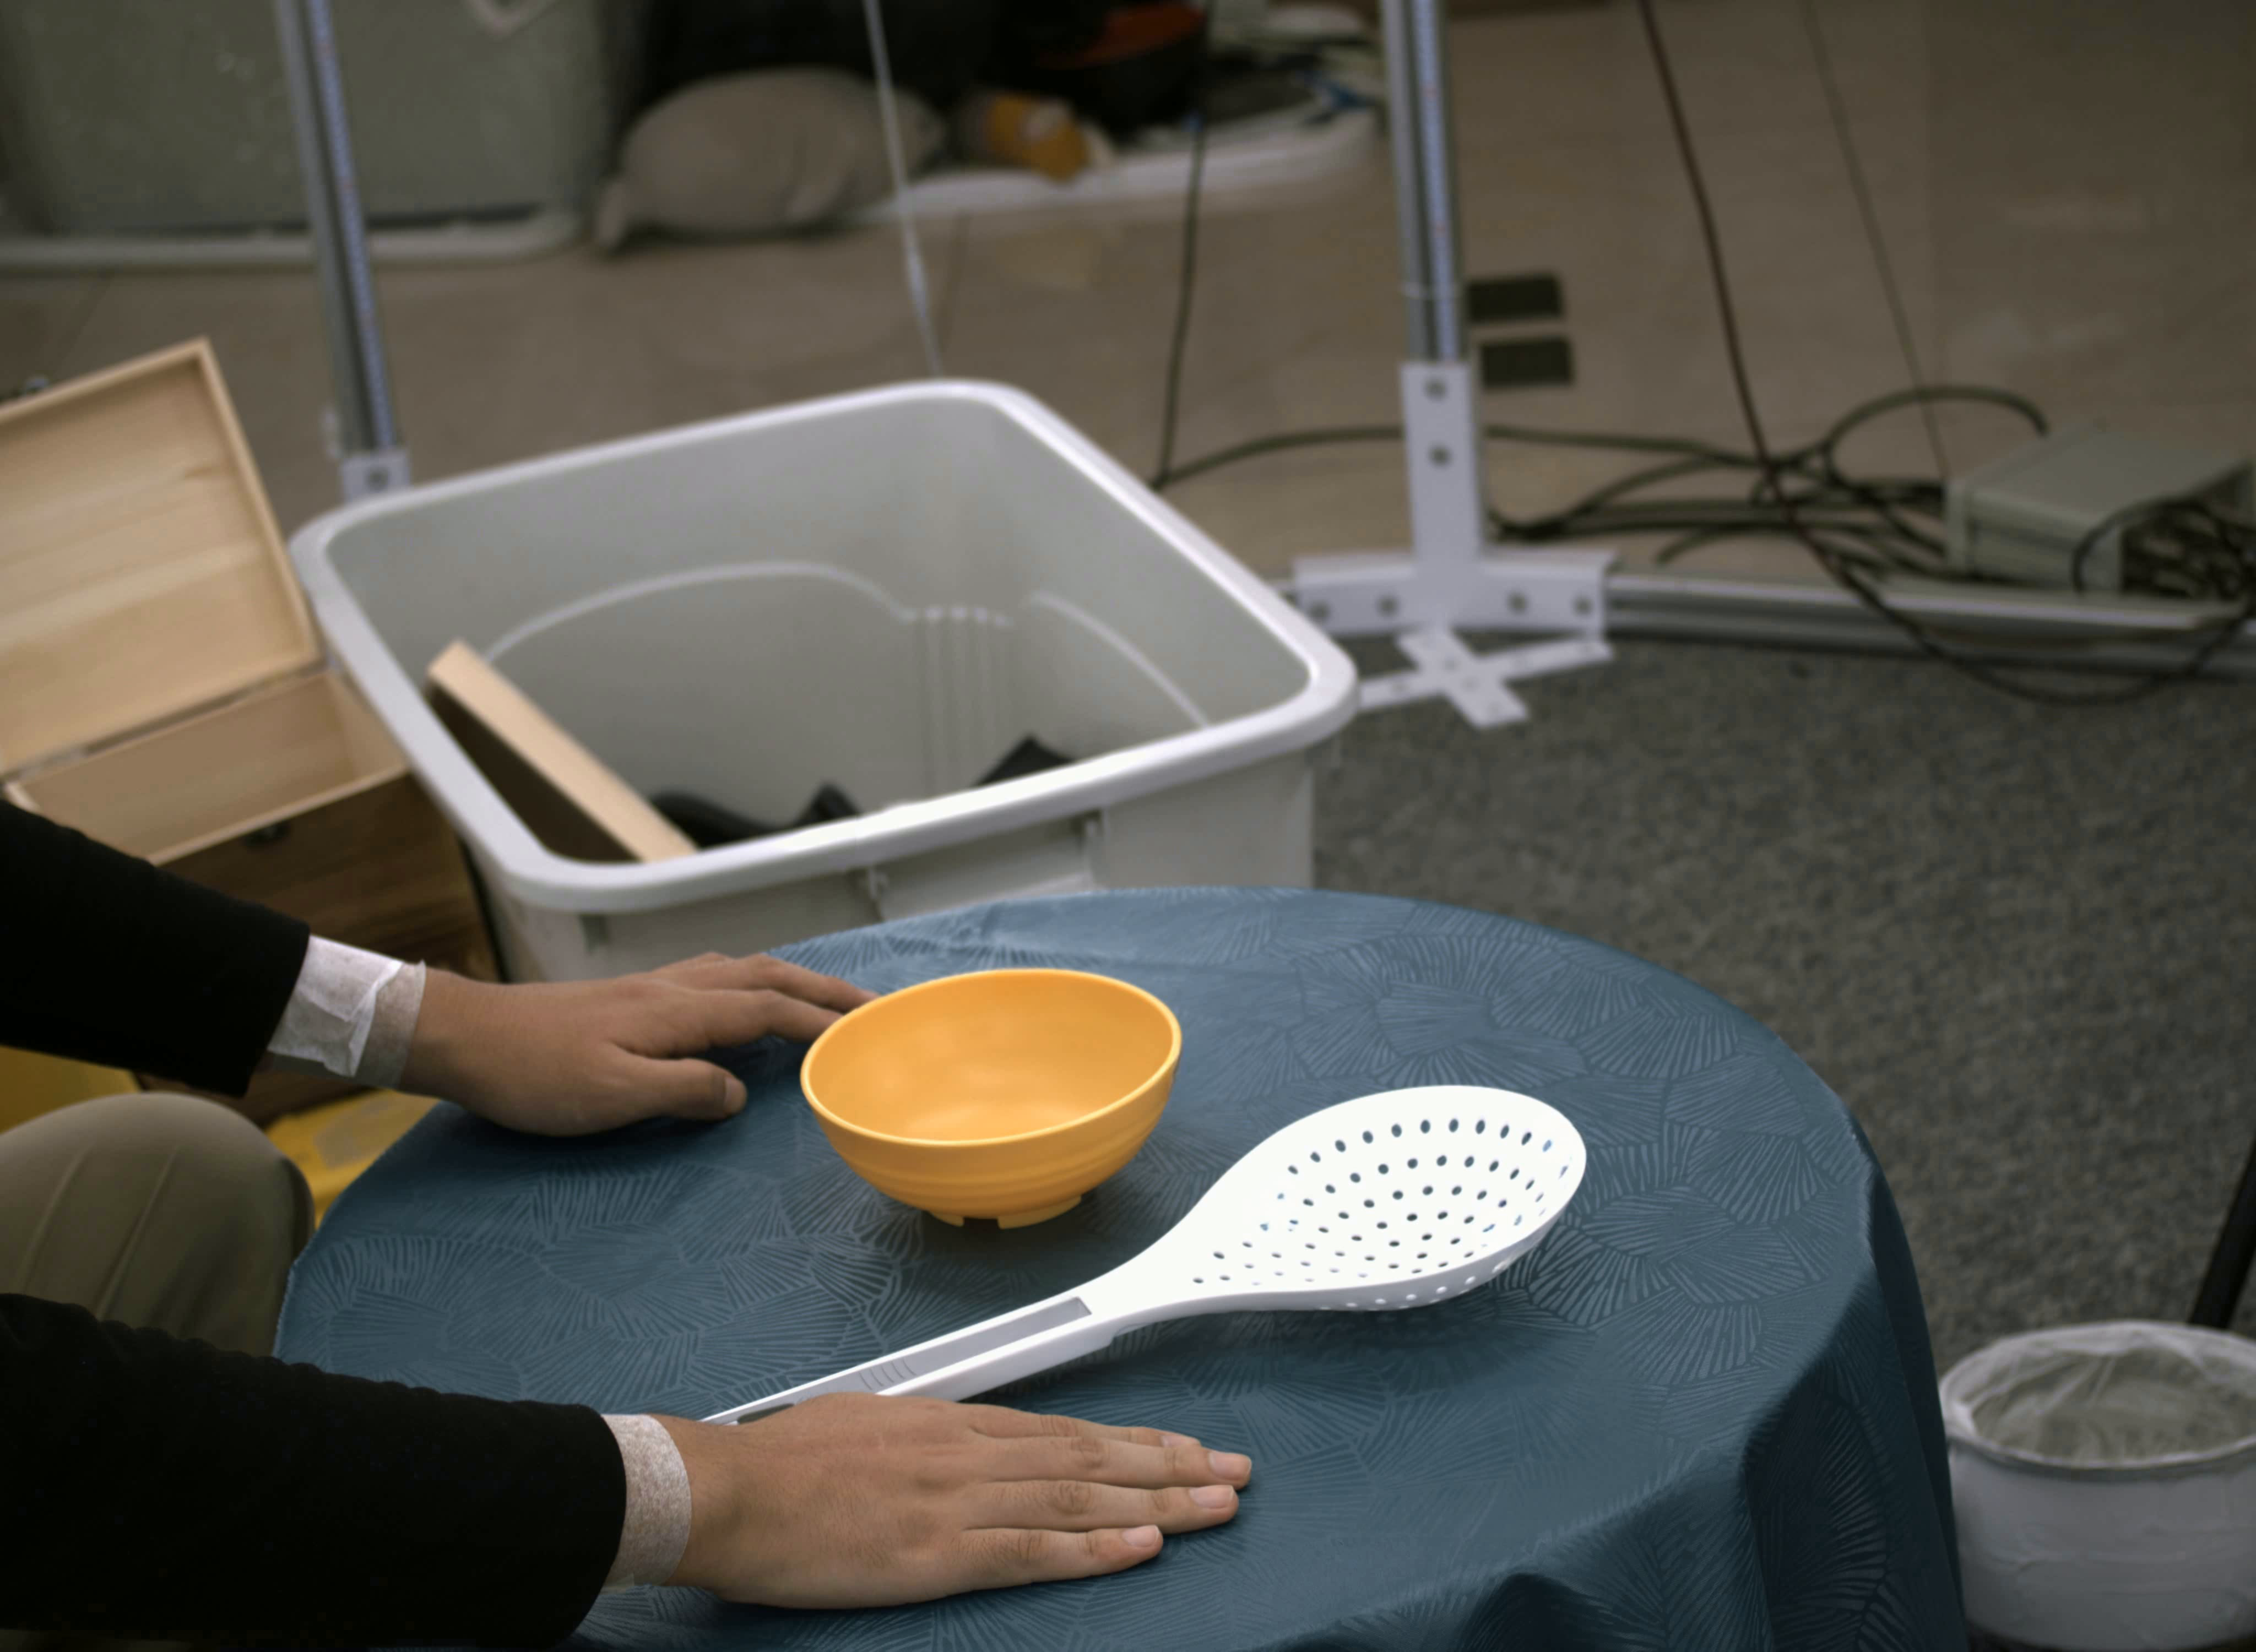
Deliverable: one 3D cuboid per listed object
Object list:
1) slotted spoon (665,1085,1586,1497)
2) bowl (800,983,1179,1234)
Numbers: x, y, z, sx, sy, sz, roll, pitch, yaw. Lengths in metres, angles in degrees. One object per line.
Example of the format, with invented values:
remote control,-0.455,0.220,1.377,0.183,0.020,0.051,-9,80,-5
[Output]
slotted spoon,0.001,0.170,2.027,0.348,0.046,0.134,-15,26,-16
bowl,-0.050,0.114,2.147,0.145,0.061,0.143,-5,23,2
